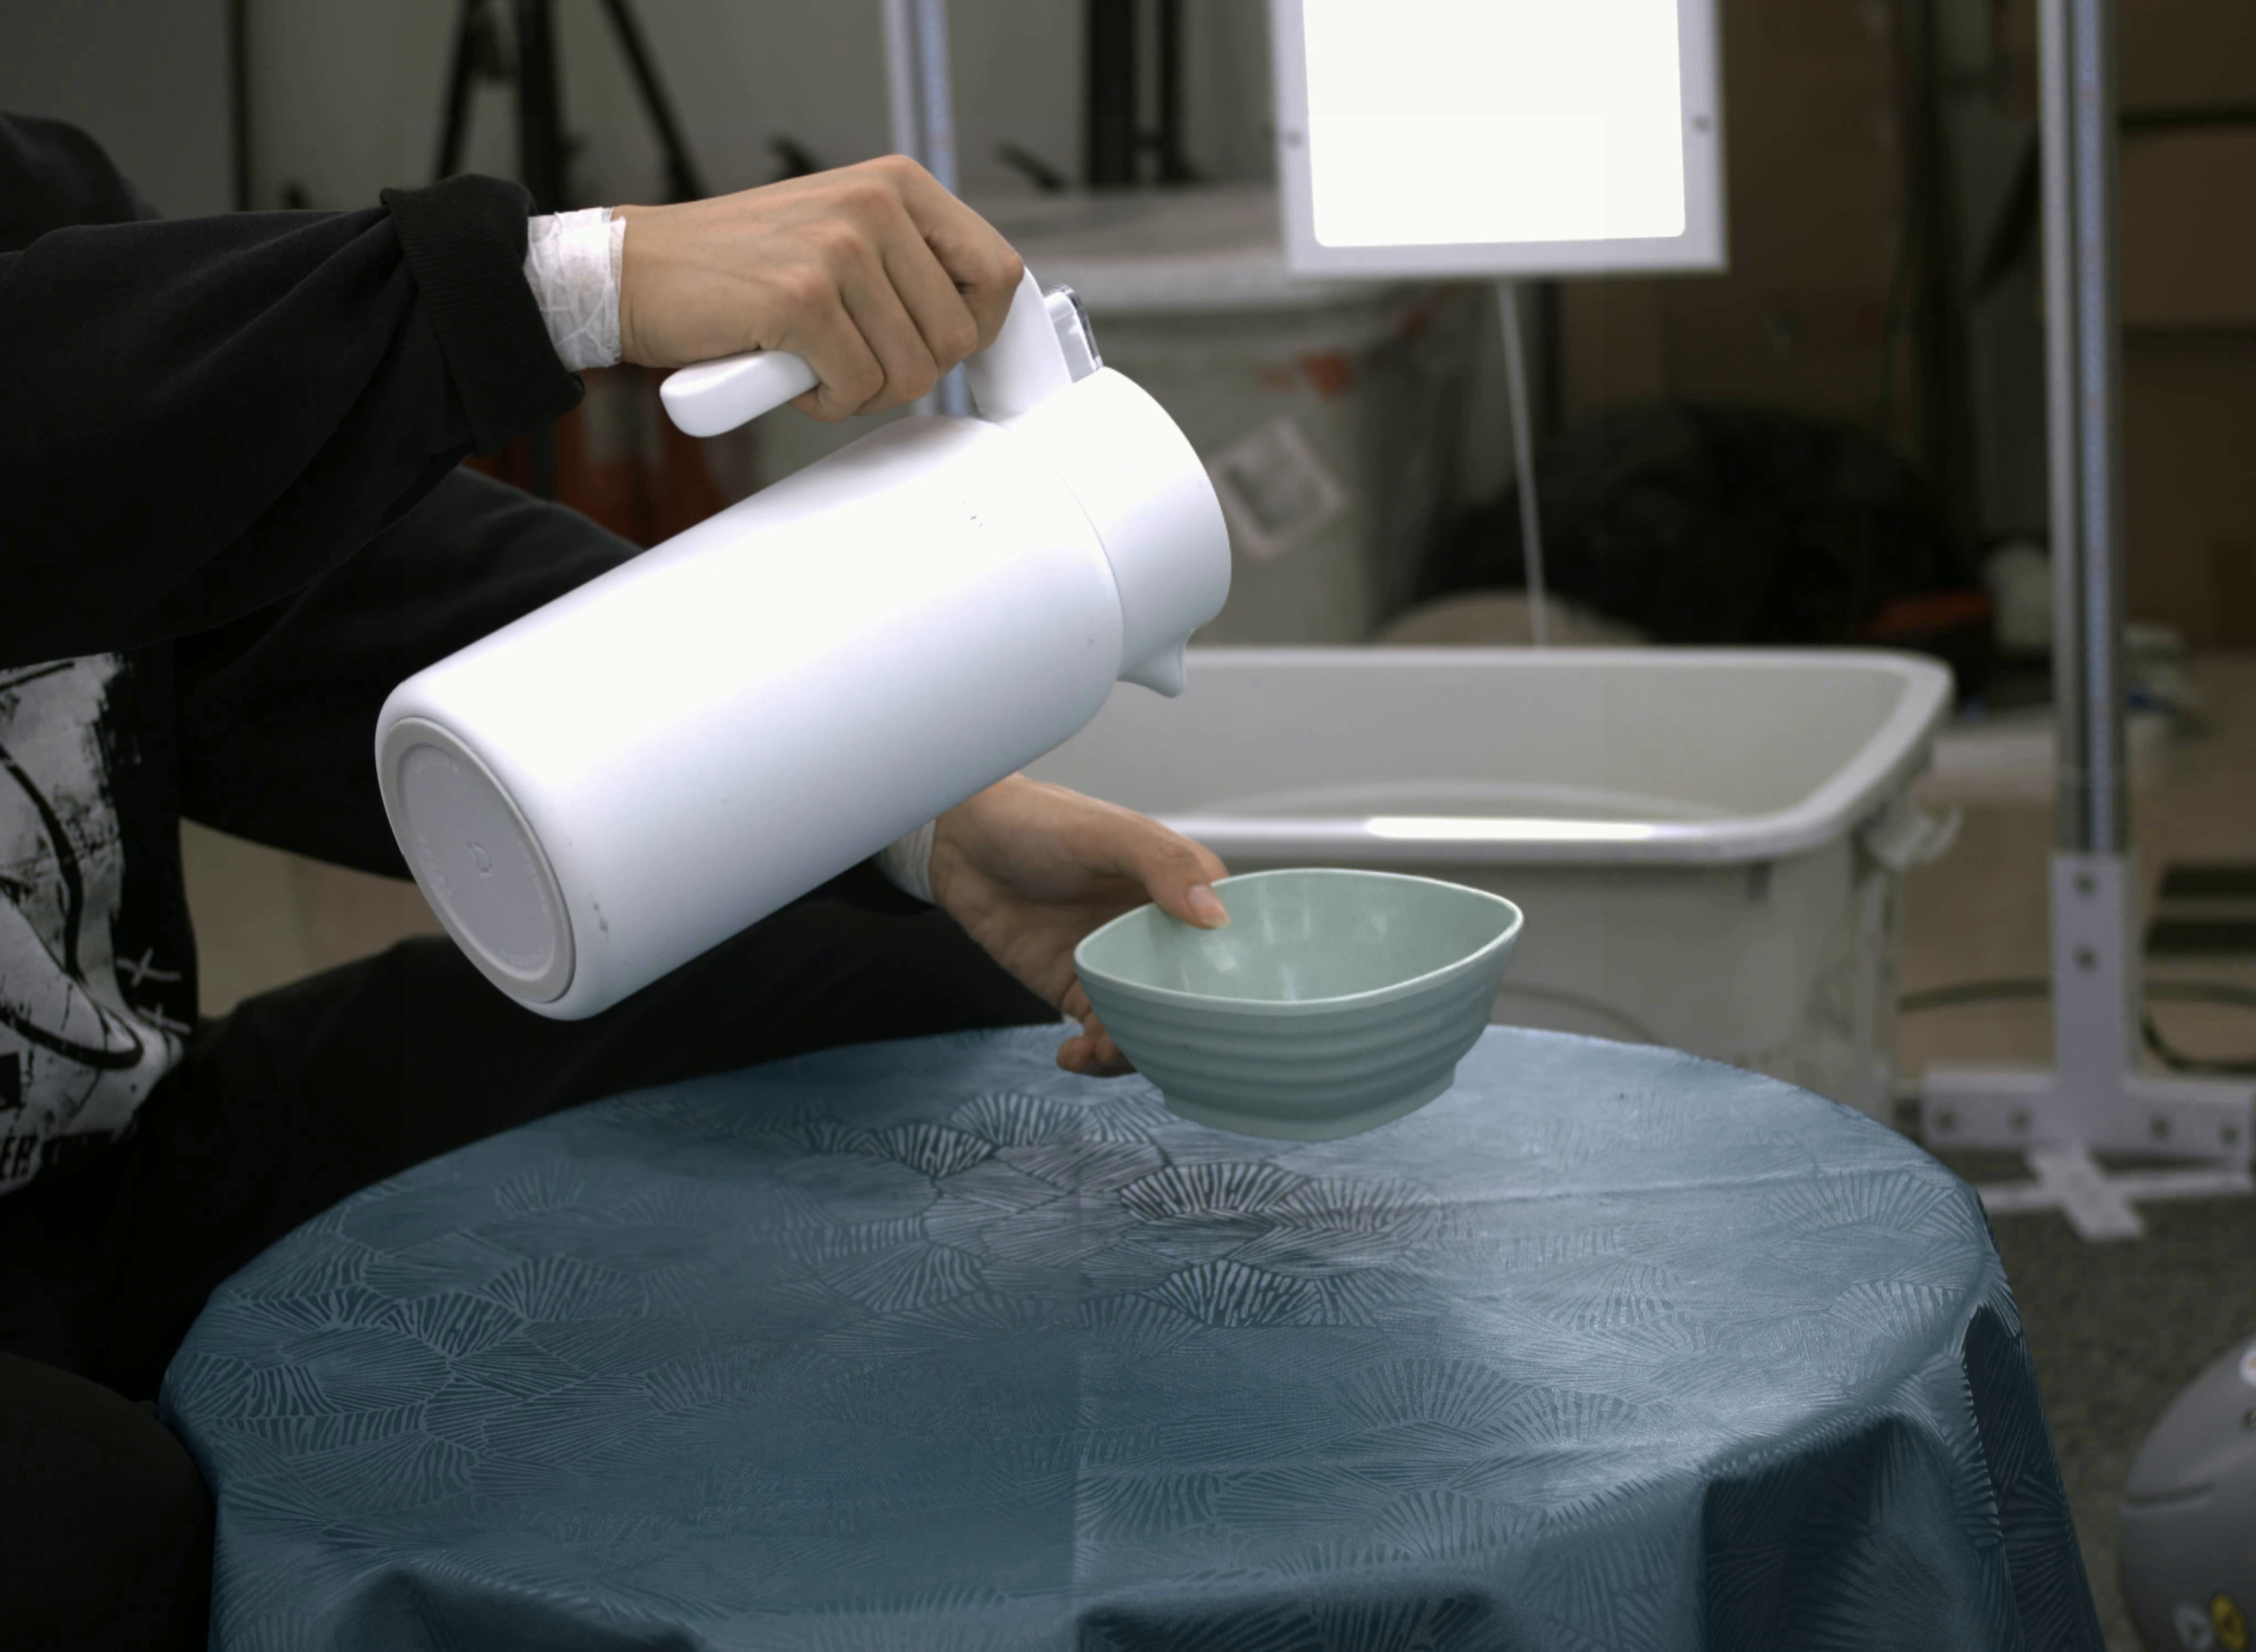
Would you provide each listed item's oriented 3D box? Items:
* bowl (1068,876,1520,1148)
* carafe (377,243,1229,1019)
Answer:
[{"bbox_3d":[0.057,0.065,1.832,0.151,0.059,0.151,-5,16,0],"label":"bowl"},{"bbox_3d":[-0.102,-0.064,1.720,0.264,0.173,0.126,-30,24,-25],"label":"carafe"}]
